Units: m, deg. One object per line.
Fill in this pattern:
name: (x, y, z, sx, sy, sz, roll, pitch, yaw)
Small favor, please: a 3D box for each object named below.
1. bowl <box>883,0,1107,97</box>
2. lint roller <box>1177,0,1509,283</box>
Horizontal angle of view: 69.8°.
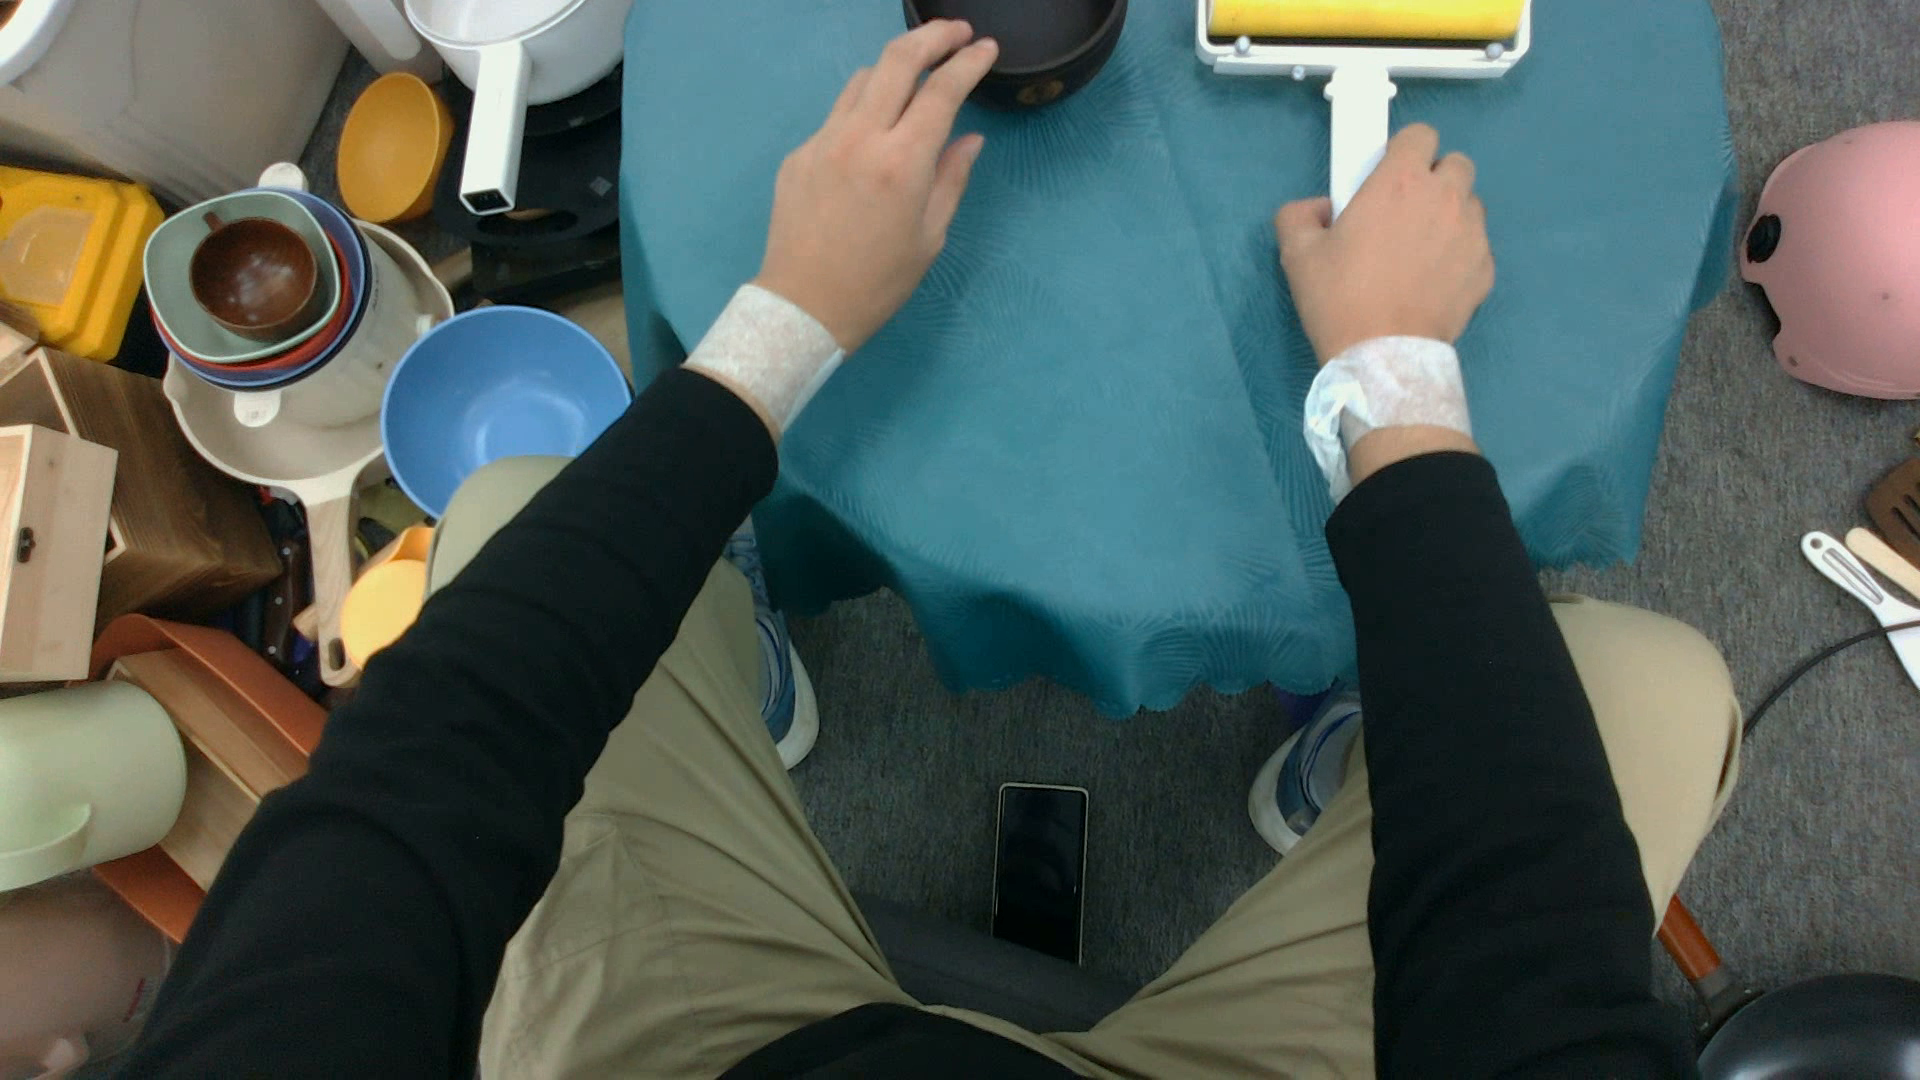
bowl: (0.018, -0.286, 0.724, 0.118, 0.070, 0.118, 0, 78, 2)
lint roller: (0.203, -0.230, 0.716, 0.174, 0.051, 0.192, 0, 71, 1)
